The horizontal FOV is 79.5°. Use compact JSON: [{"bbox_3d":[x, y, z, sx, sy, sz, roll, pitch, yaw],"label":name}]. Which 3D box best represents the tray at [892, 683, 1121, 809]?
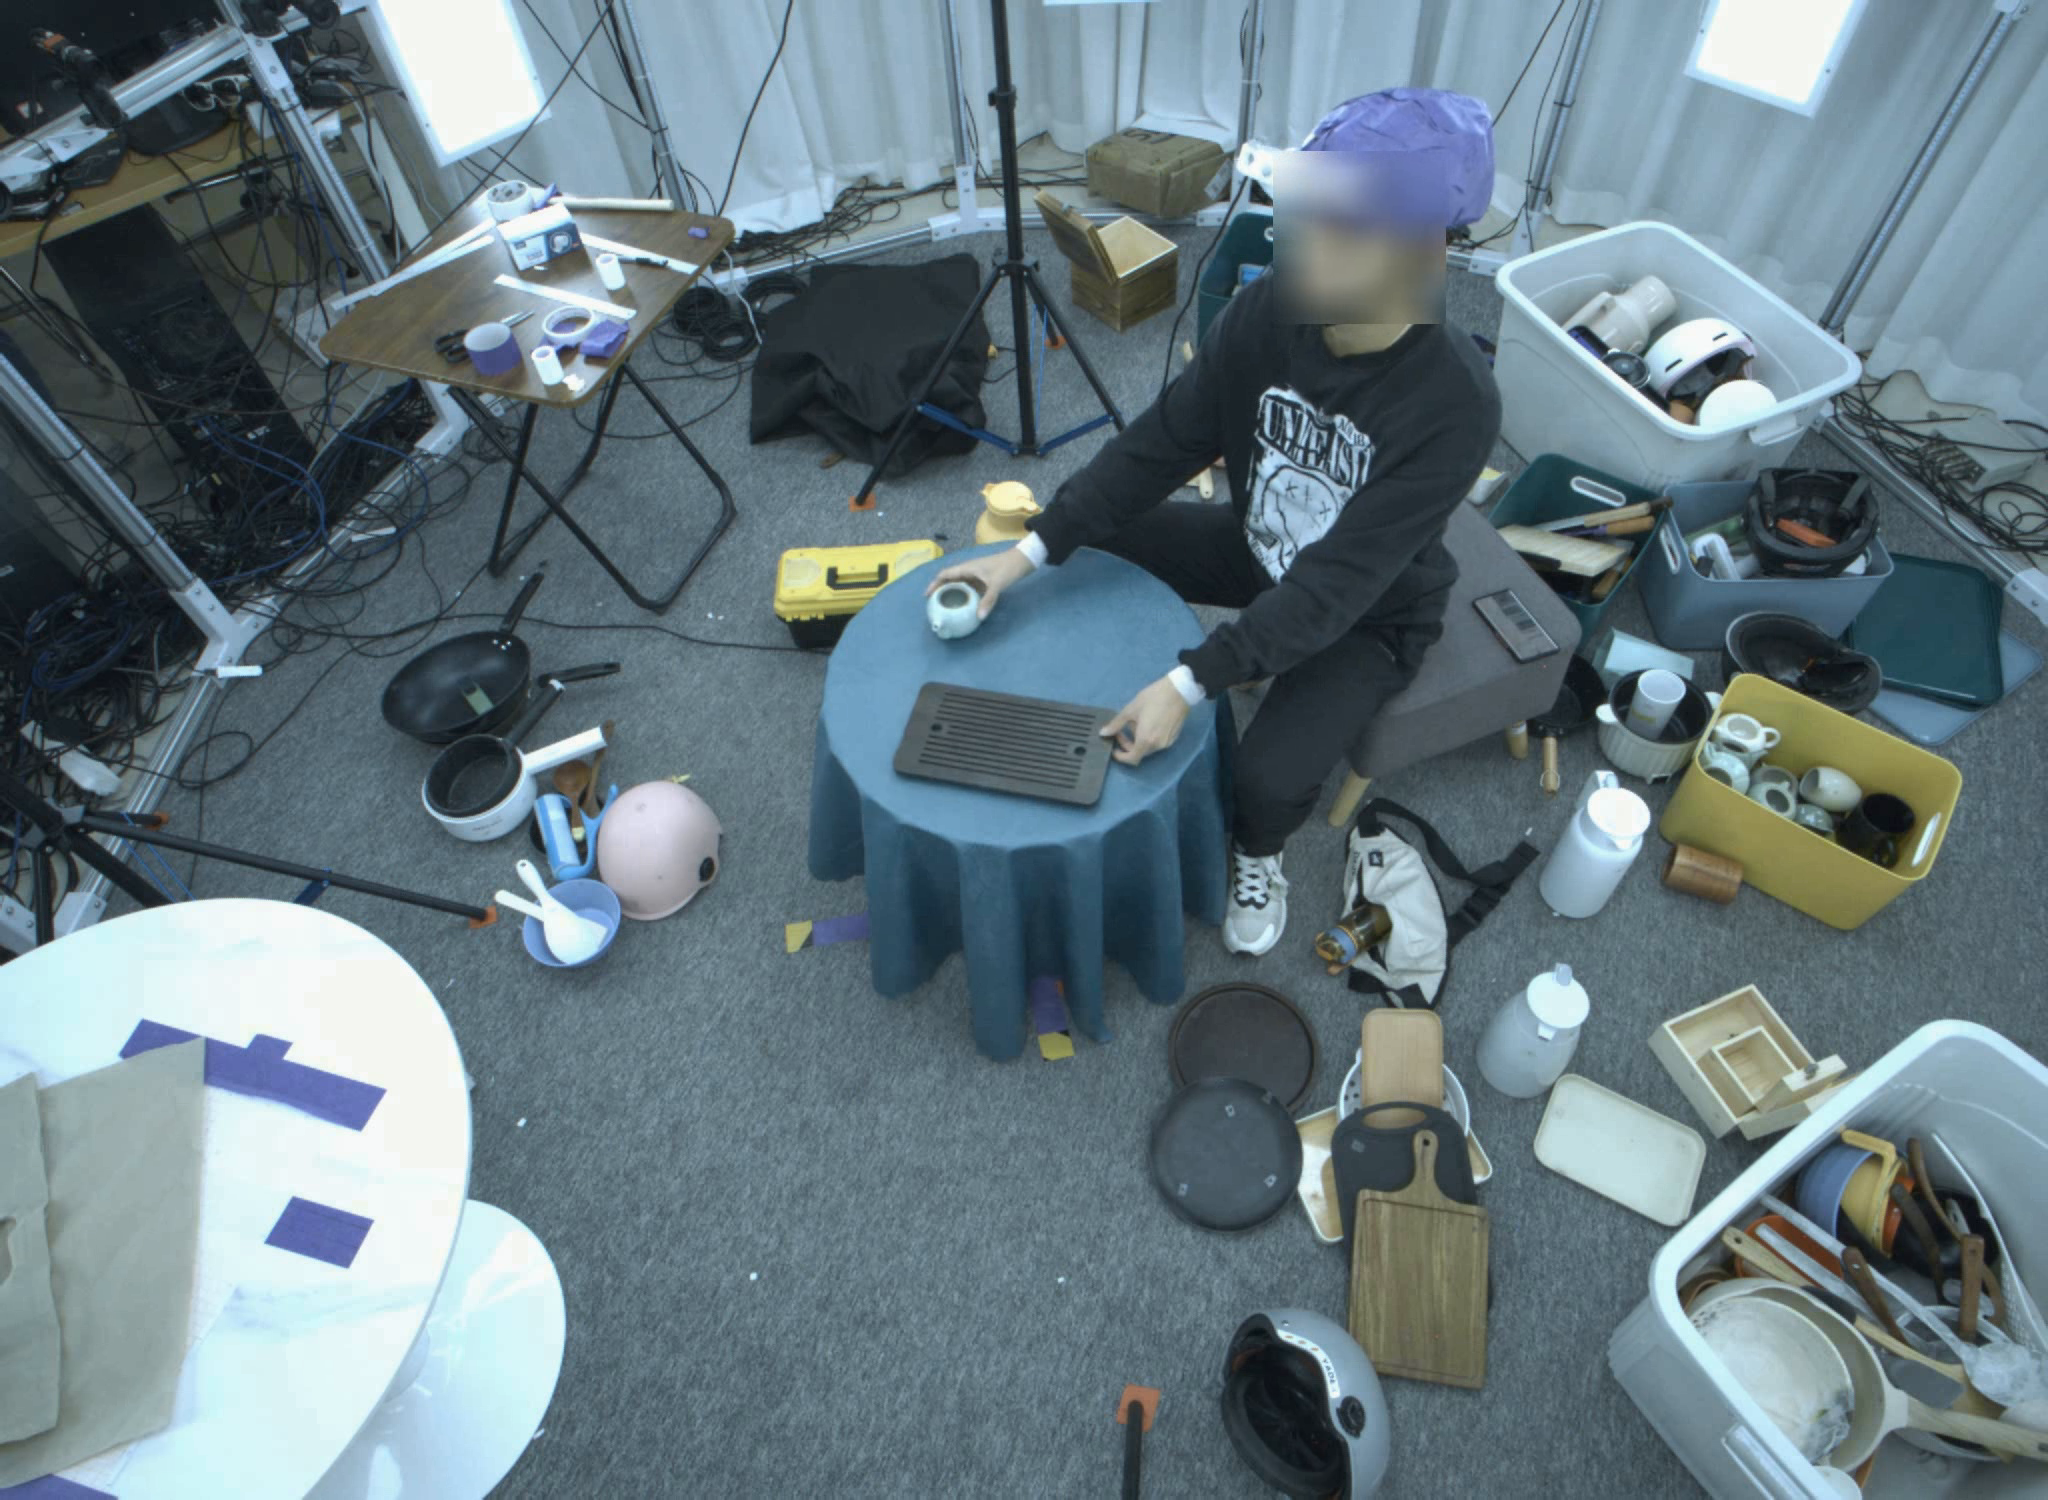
[{"bbox_3d":[-0.024,-0.007,1.776,0.304,0.019,0.169,10,56,9],"label":"tray"}]

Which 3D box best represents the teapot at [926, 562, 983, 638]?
[{"bbox_3d":[-0.108,-0.219,1.898,0.087,0.075,0.144,18,59,14],"label":"teapot"}]
